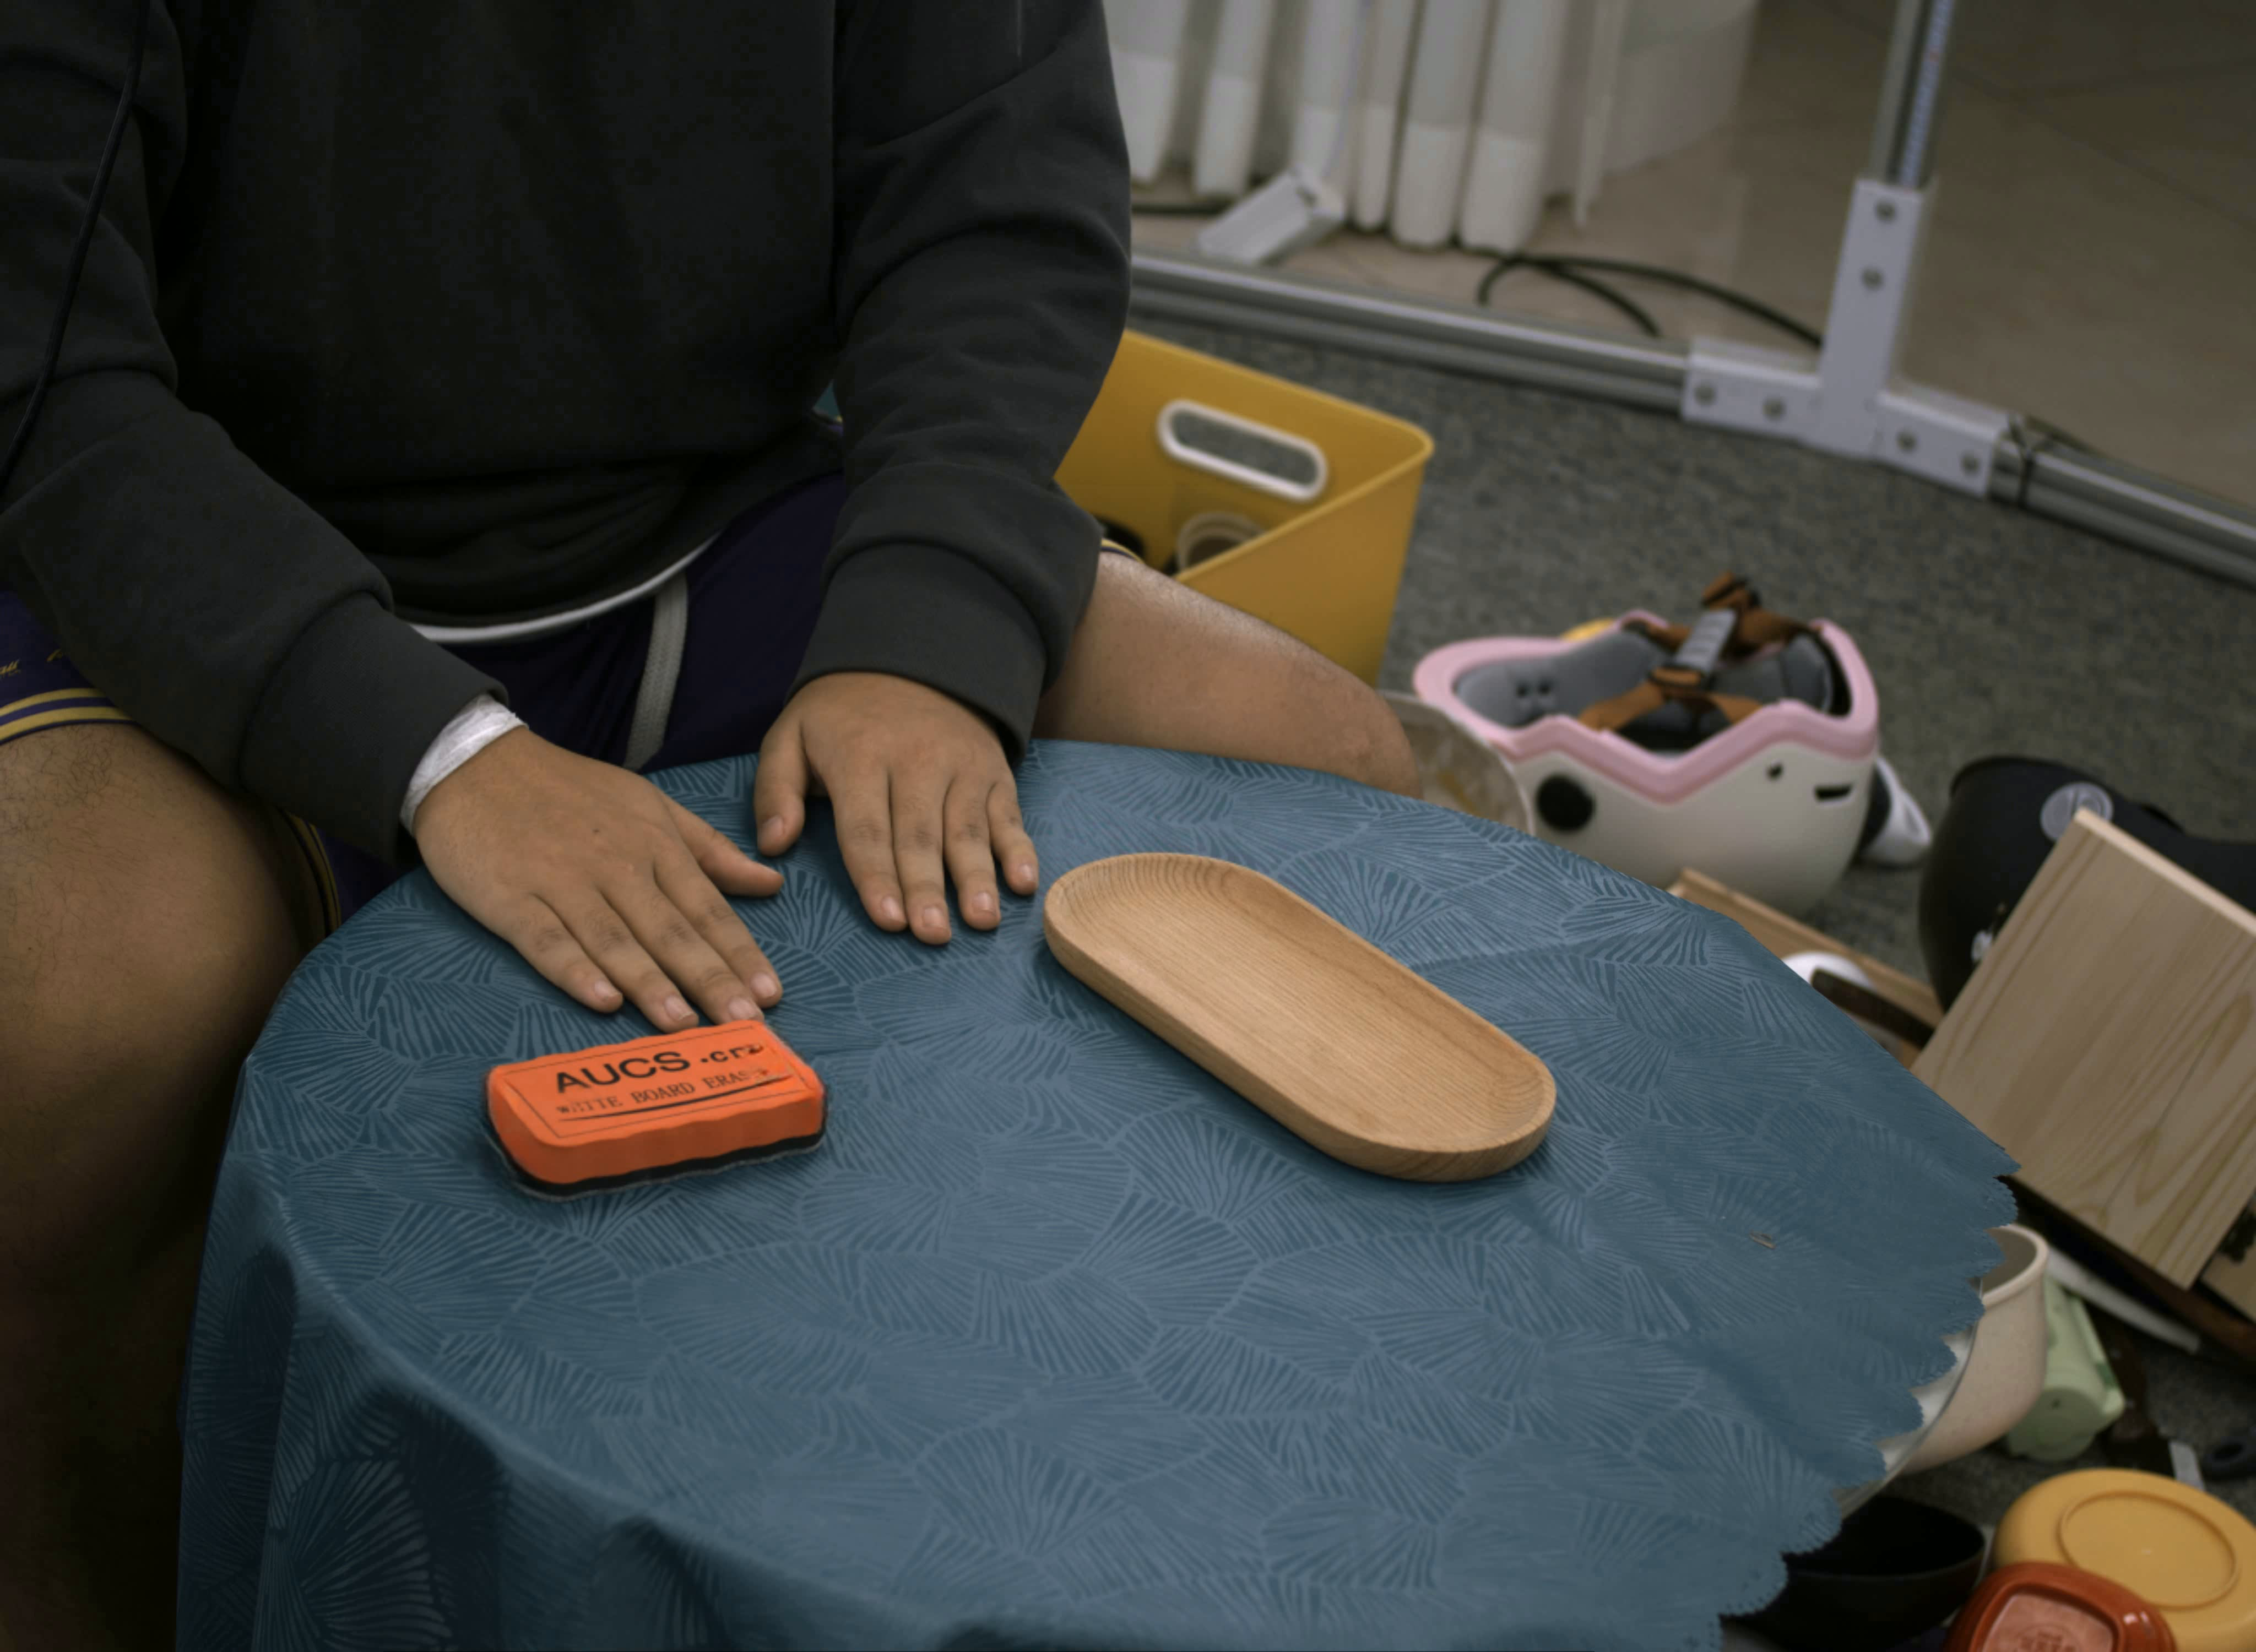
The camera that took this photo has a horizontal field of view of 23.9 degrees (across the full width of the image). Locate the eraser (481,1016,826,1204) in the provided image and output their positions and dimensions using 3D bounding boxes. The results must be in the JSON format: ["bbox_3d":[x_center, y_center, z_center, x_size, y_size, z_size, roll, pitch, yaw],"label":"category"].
[{"bbox_3d":[-0.160,0.096,1.795,0.107,0.023,0.059,-10,38,-28],"label":"eraser"}]

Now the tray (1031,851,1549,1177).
[{"bbox_3d":[0.056,0.066,1.910,0.101,0.020,0.233,-14,32,-37],"label":"tray"}]
